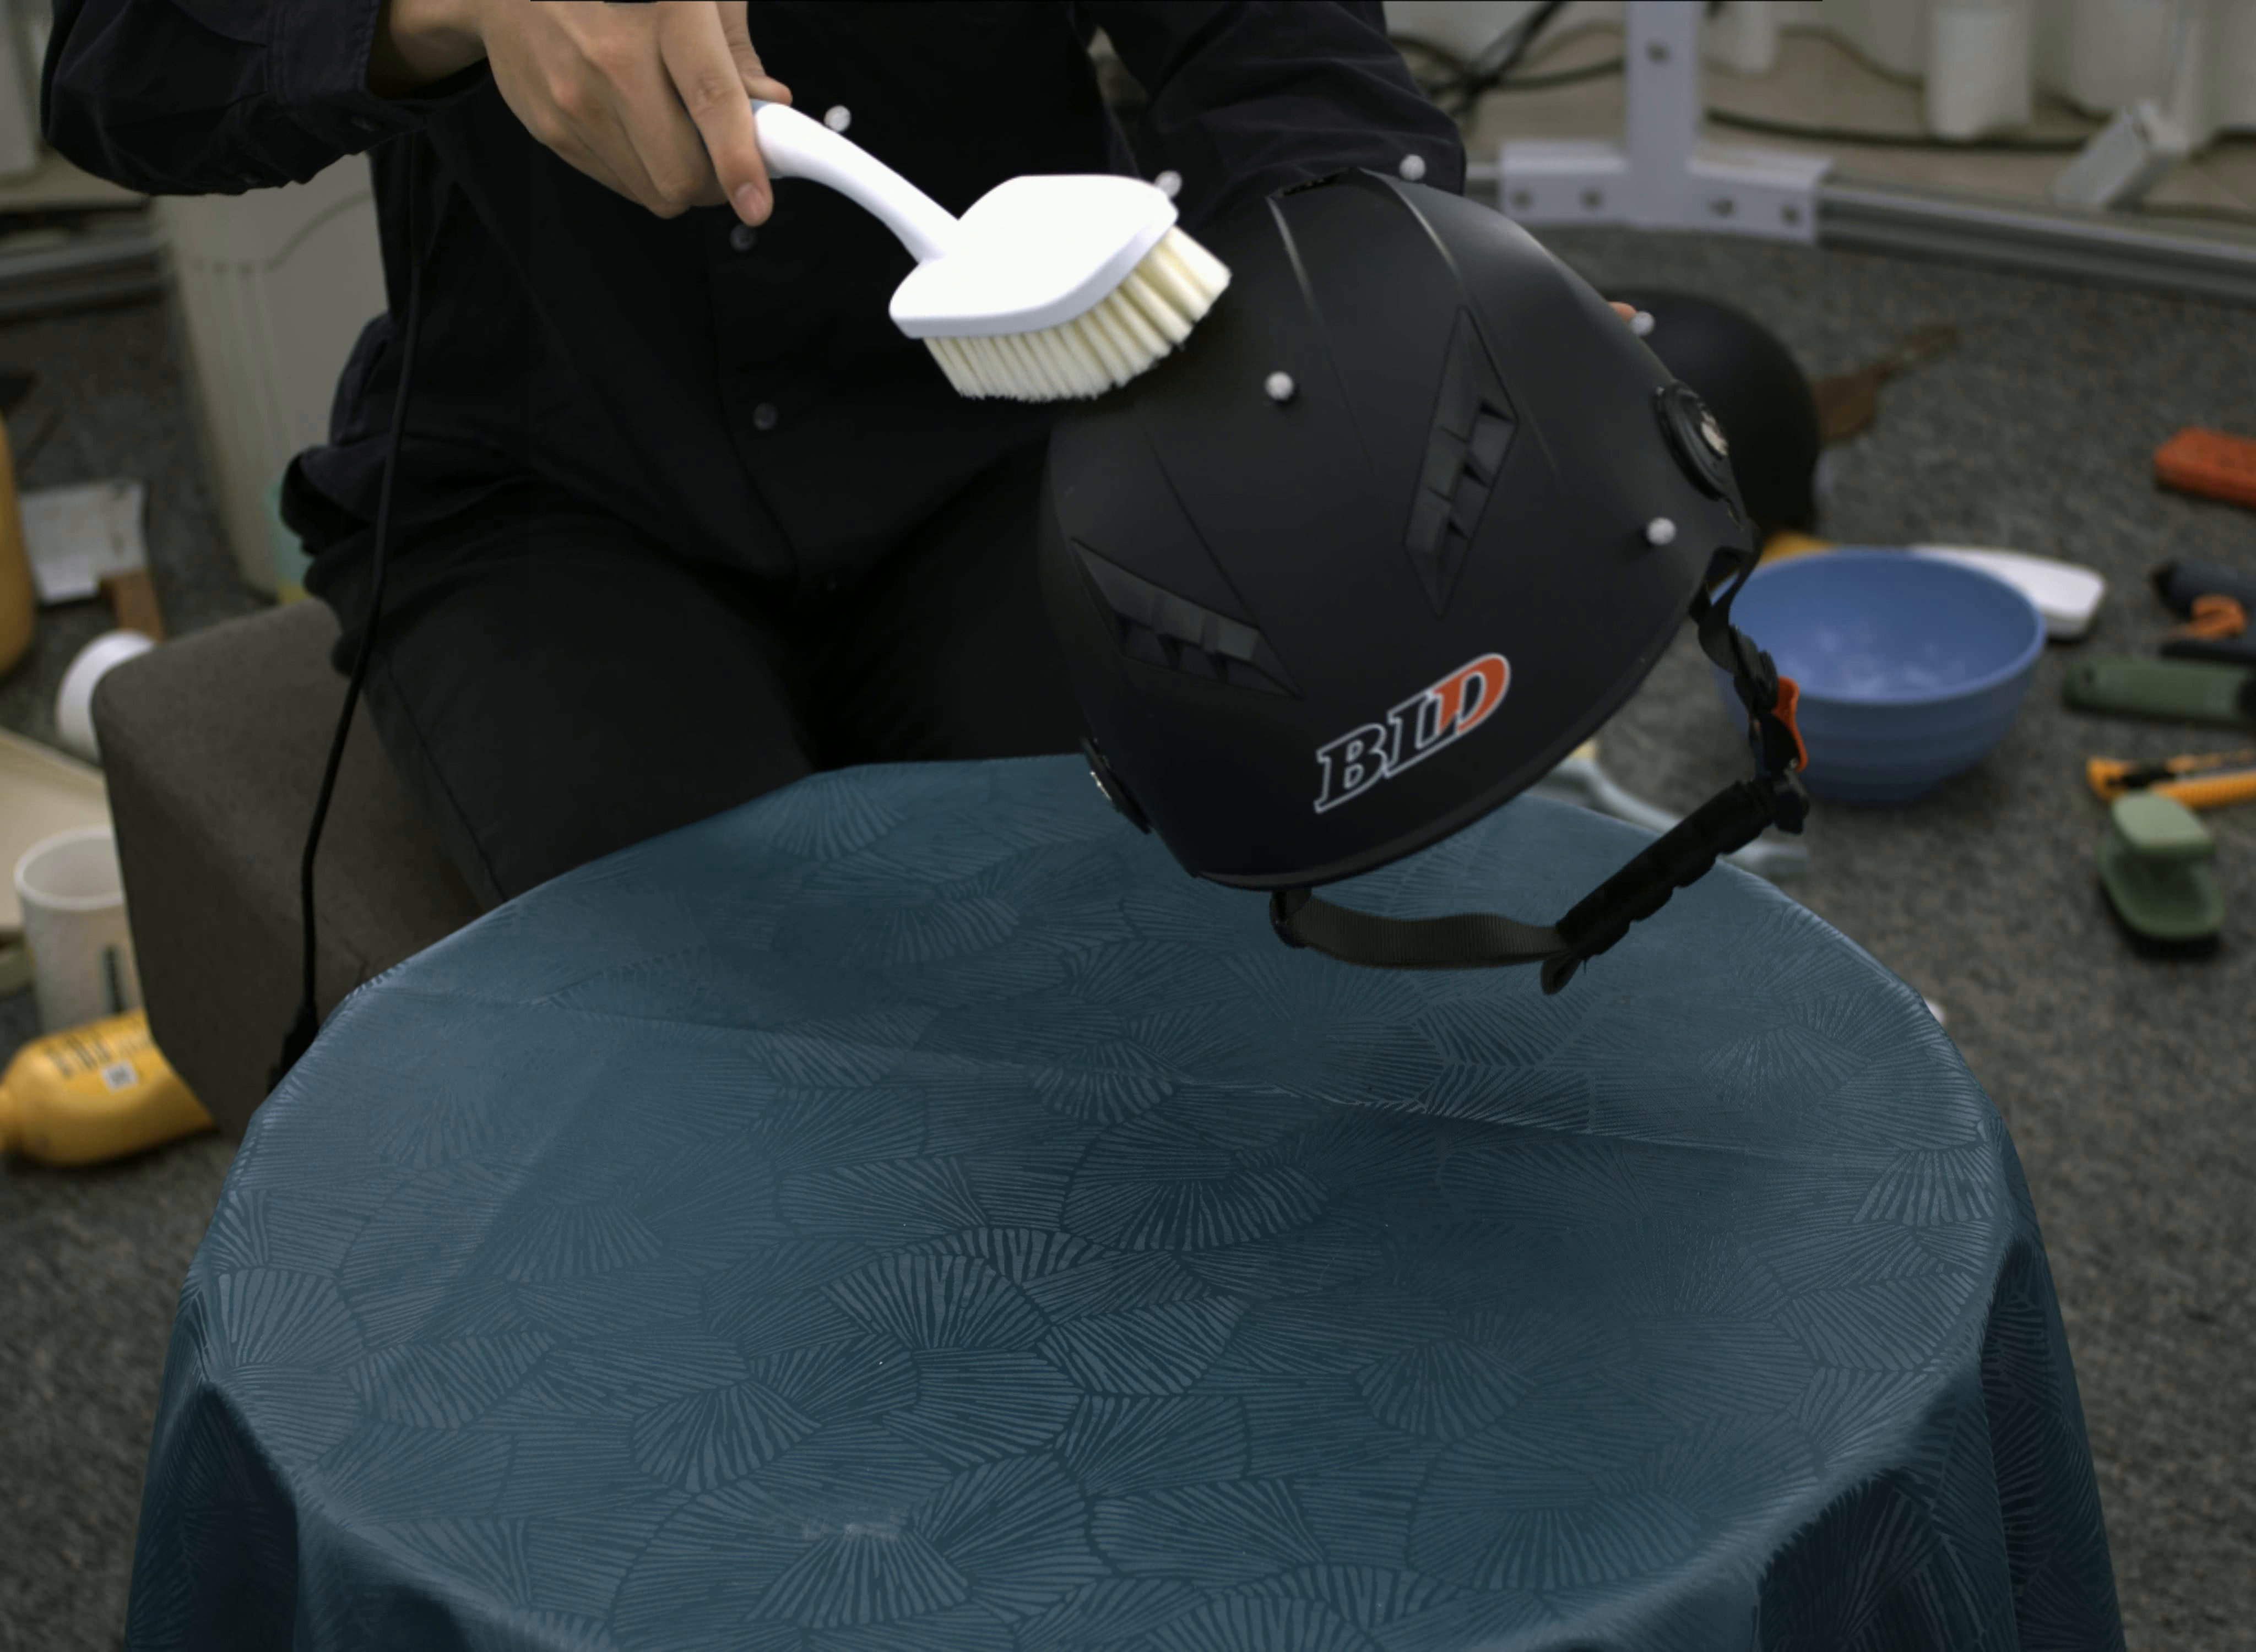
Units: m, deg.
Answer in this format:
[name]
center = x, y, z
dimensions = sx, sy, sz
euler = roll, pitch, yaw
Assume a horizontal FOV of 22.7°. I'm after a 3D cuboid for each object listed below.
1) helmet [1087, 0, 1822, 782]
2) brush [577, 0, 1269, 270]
[helmet]
center = 0.087, -0.152, 1.812
dimensions = 0.244, 0.171, 0.281
euler = -31, 26, 13
[brush]
center = -0.065, -0.236, 1.872
dimensions = 0.084, 0.084, 0.324
euler = -11, 19, -40
